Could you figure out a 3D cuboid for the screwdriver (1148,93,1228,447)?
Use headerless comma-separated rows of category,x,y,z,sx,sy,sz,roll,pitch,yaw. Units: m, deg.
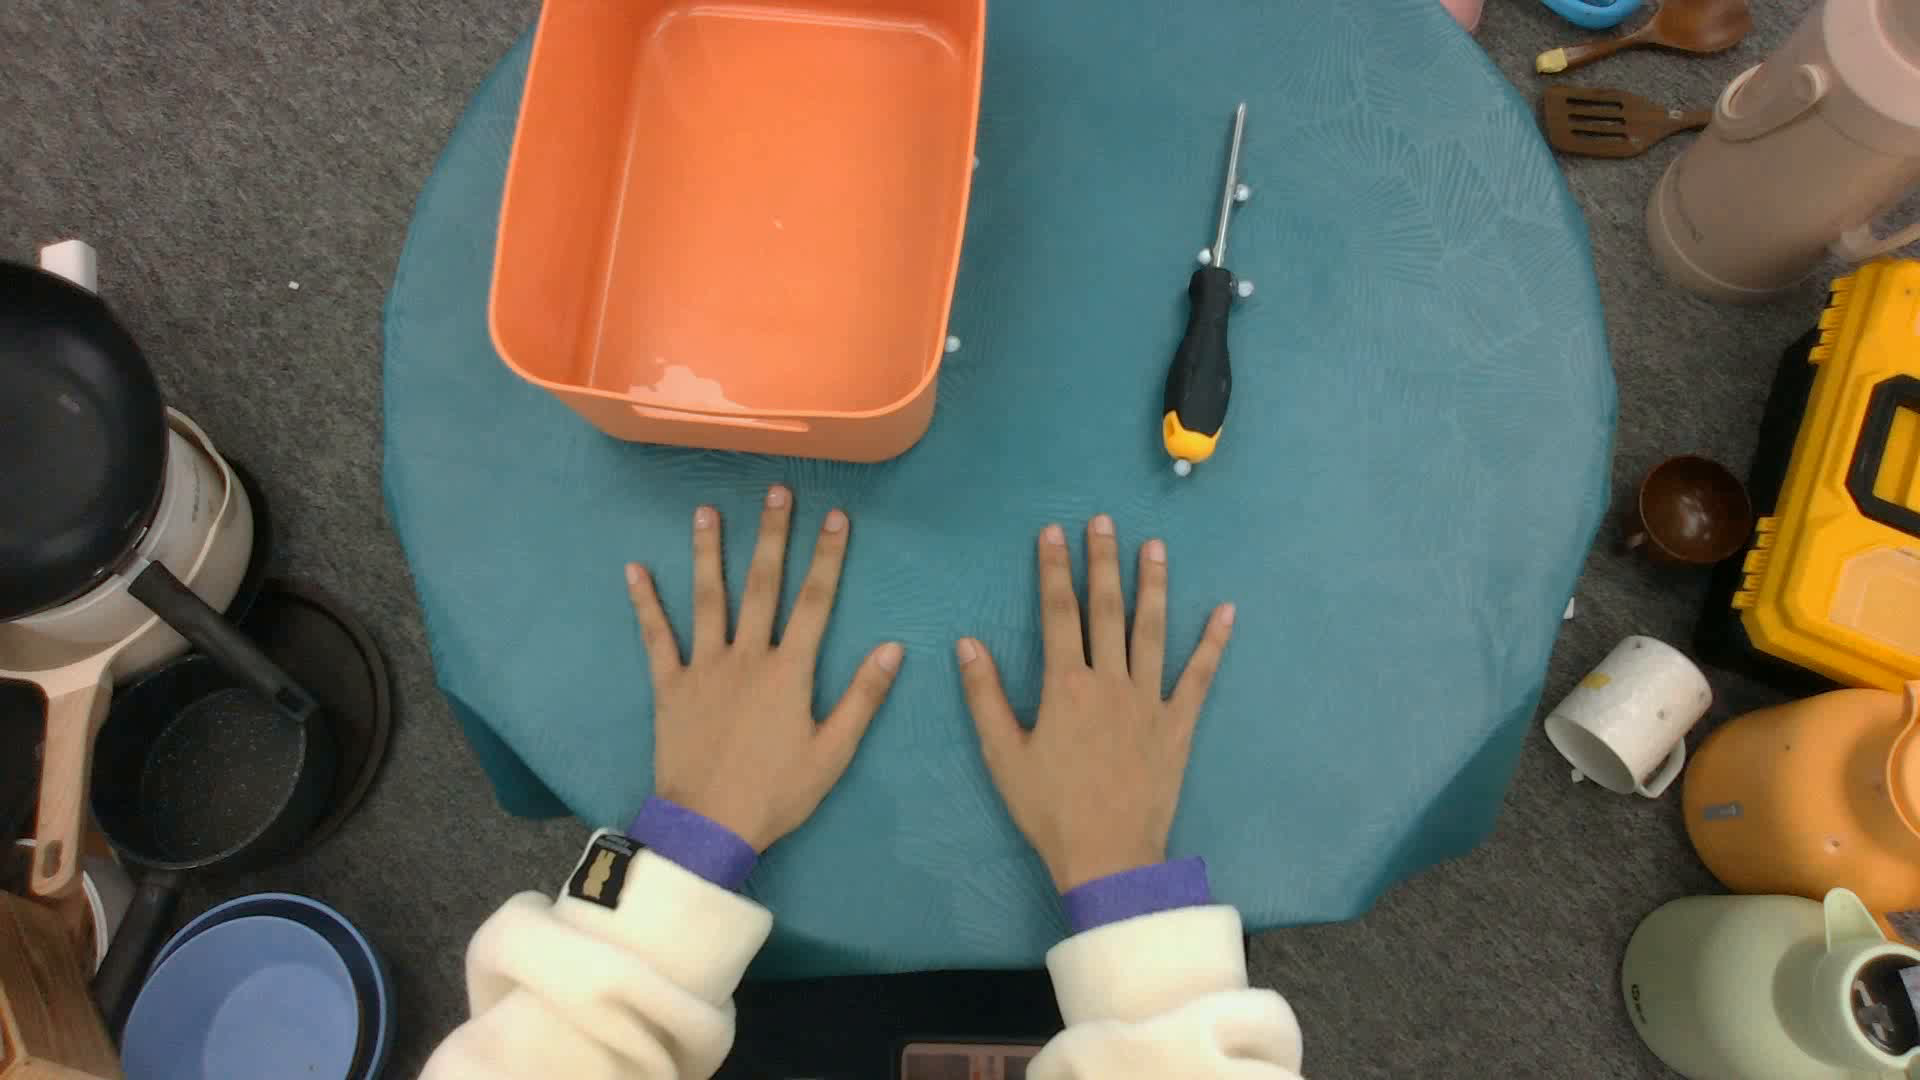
screwdriver,0.120,-0.136,0.678,0.031,0.031,0.197,13,70,4

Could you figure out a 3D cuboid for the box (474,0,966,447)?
box,-0.100,-0.178,0.643,0.199,0.102,0.274,5,74,0
